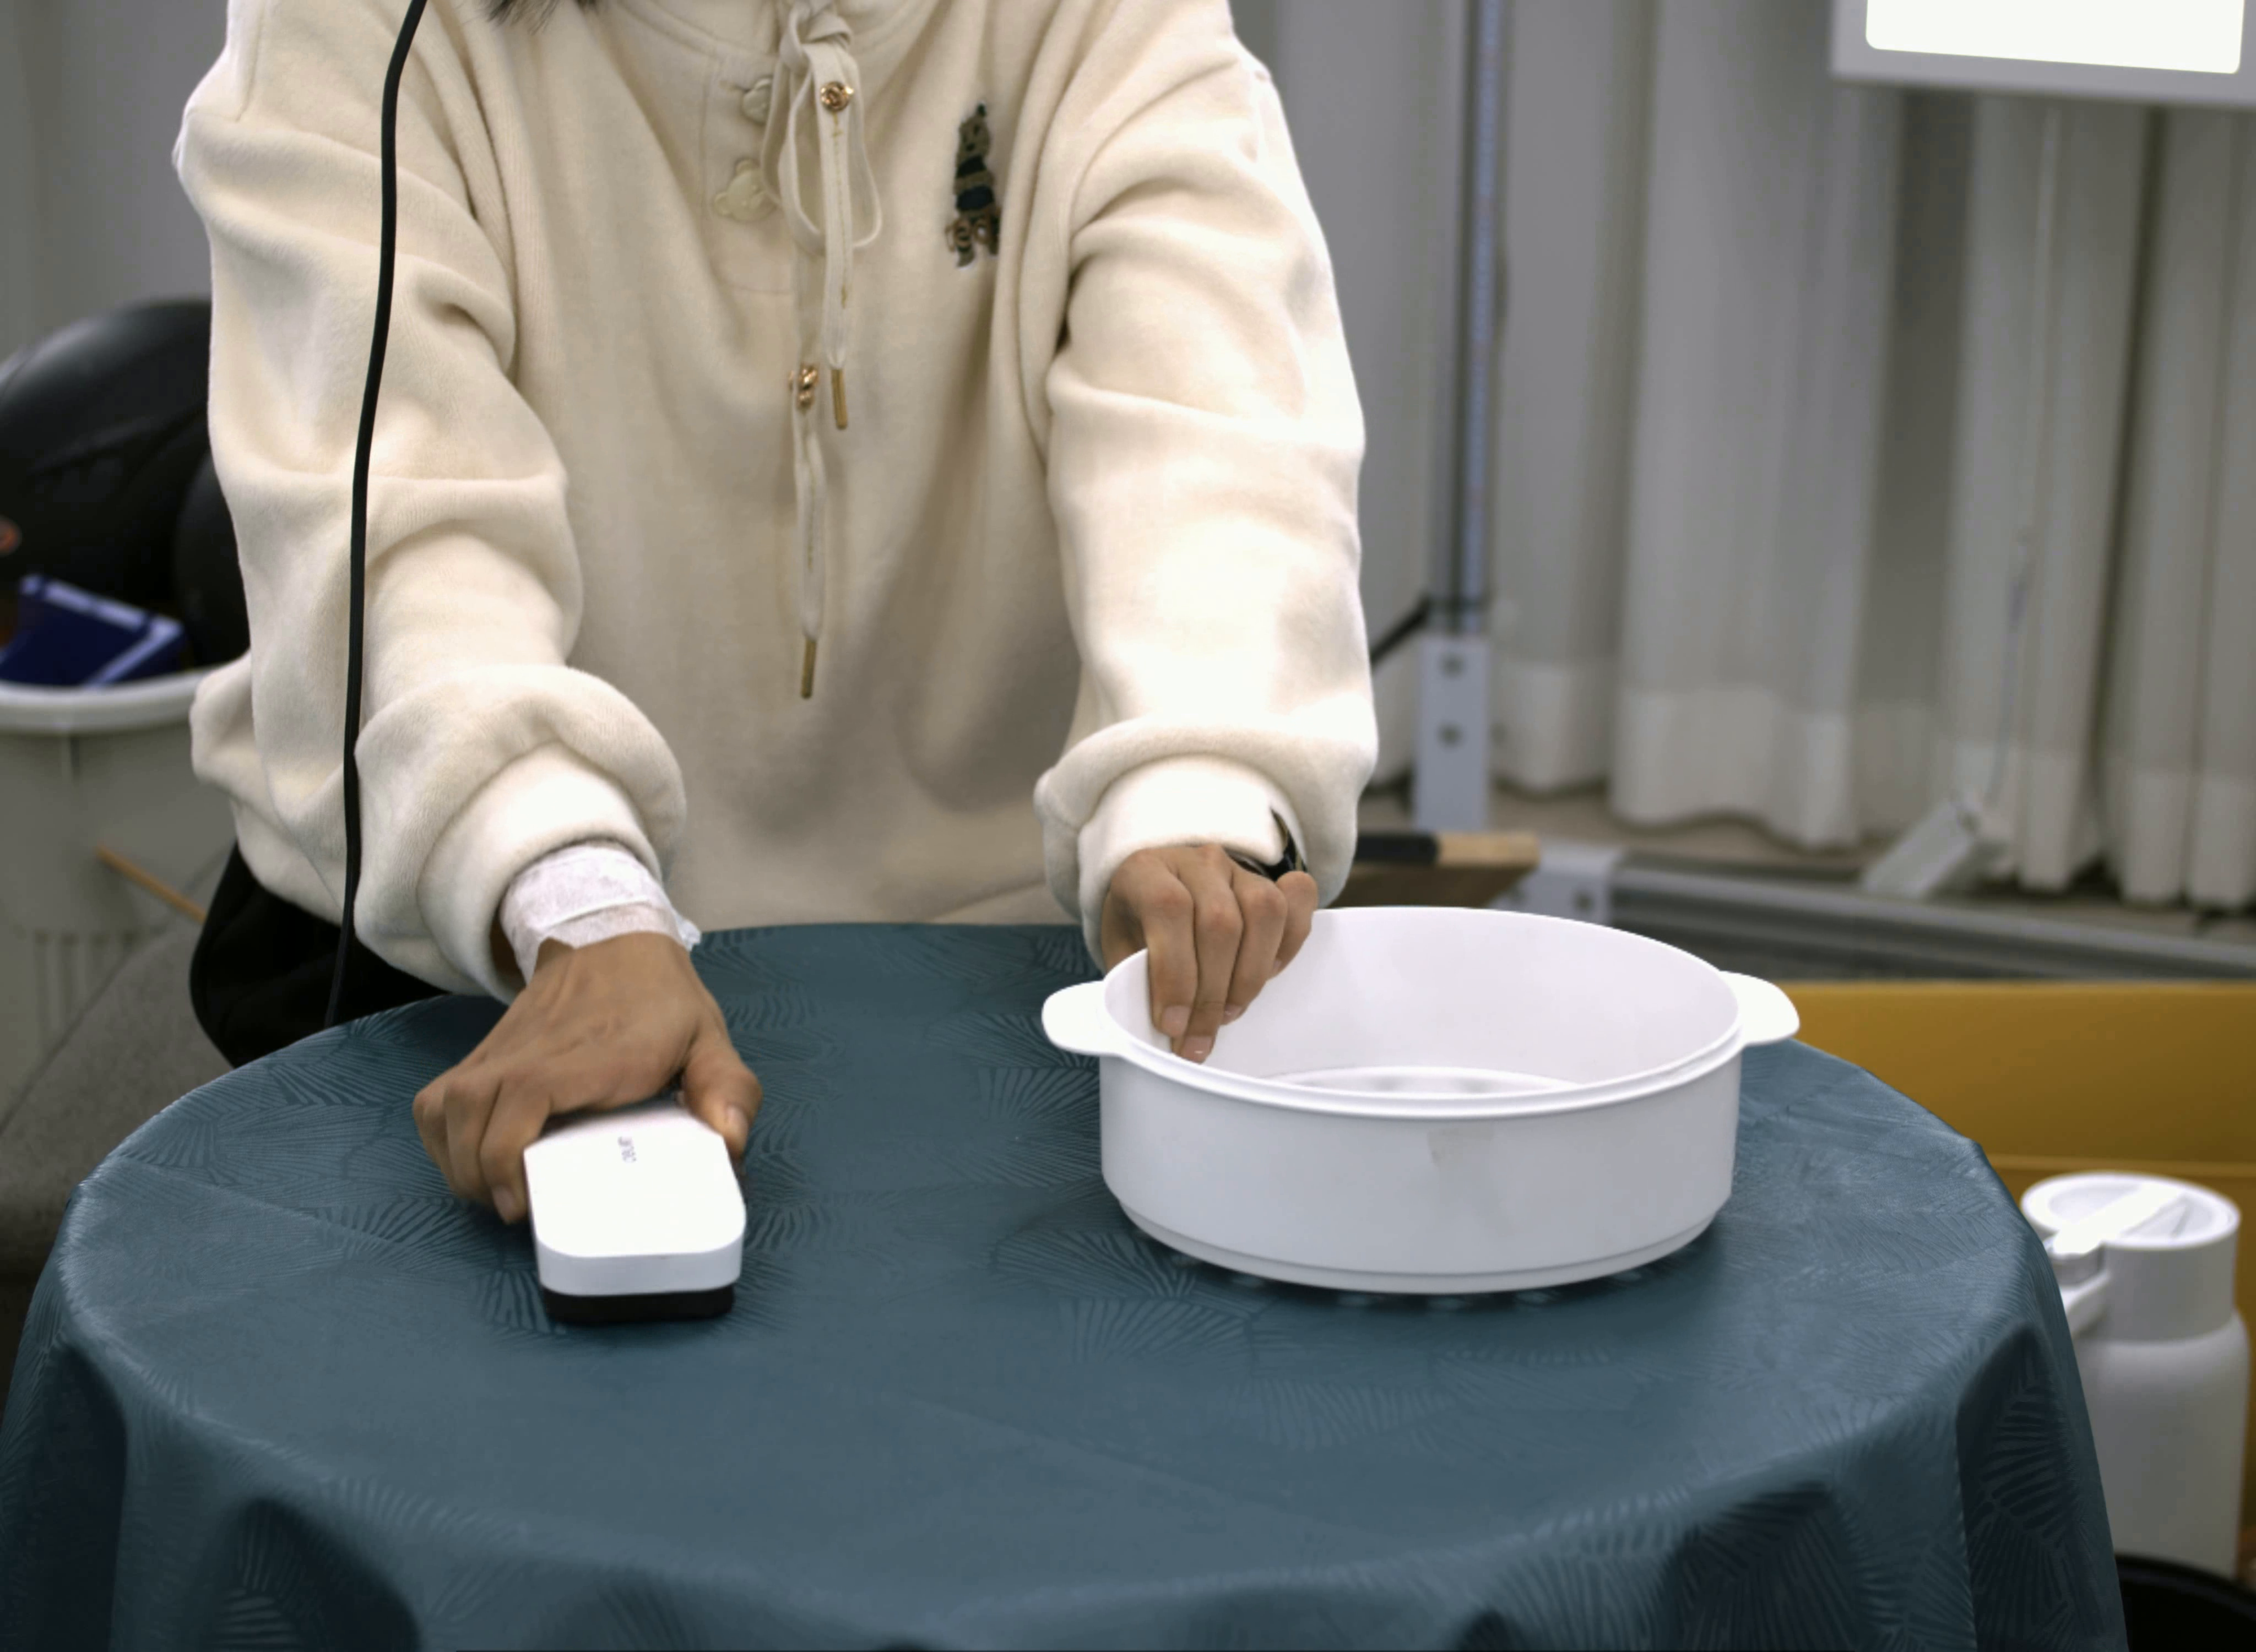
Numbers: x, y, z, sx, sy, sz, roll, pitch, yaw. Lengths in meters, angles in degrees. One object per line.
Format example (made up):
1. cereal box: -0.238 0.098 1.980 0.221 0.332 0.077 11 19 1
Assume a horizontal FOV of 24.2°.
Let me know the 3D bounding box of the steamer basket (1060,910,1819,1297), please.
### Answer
1. steamer basket: 0.093 0.083 1.602 0.230 0.070 0.200 1 15 -5

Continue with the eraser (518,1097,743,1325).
1. eraser: -0.147 0.109 1.560 0.063 0.035 0.130 -1 18 -8
